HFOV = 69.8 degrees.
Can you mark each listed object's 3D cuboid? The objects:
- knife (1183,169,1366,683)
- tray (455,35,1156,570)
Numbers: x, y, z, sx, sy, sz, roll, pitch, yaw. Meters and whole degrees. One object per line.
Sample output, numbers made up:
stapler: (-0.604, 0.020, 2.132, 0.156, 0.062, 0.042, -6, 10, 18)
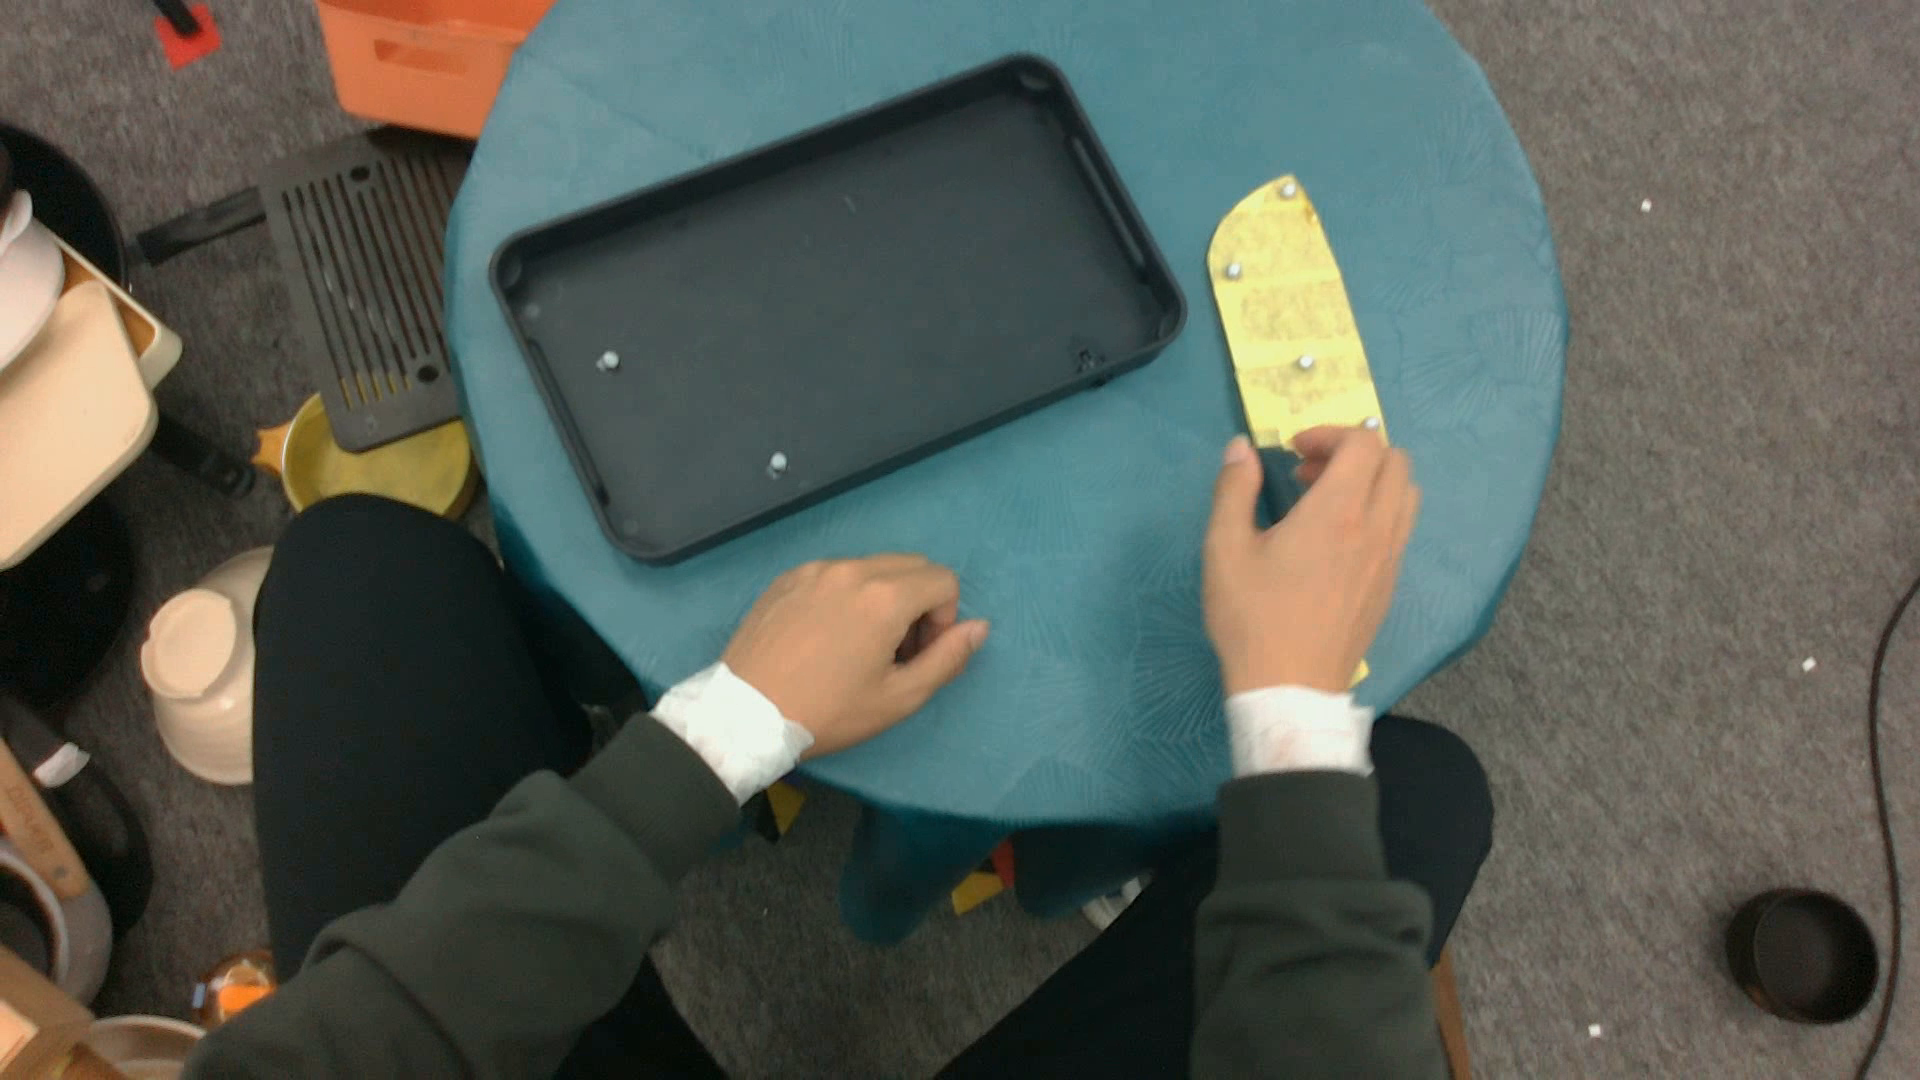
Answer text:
knife: (0.174, -0.068, 0.732, 0.081, 0.027, 0.290, -6, 76, -7)
tray: (-0.074, -0.126, 0.705, 0.318, 0.037, 0.184, -26, 81, -13)
